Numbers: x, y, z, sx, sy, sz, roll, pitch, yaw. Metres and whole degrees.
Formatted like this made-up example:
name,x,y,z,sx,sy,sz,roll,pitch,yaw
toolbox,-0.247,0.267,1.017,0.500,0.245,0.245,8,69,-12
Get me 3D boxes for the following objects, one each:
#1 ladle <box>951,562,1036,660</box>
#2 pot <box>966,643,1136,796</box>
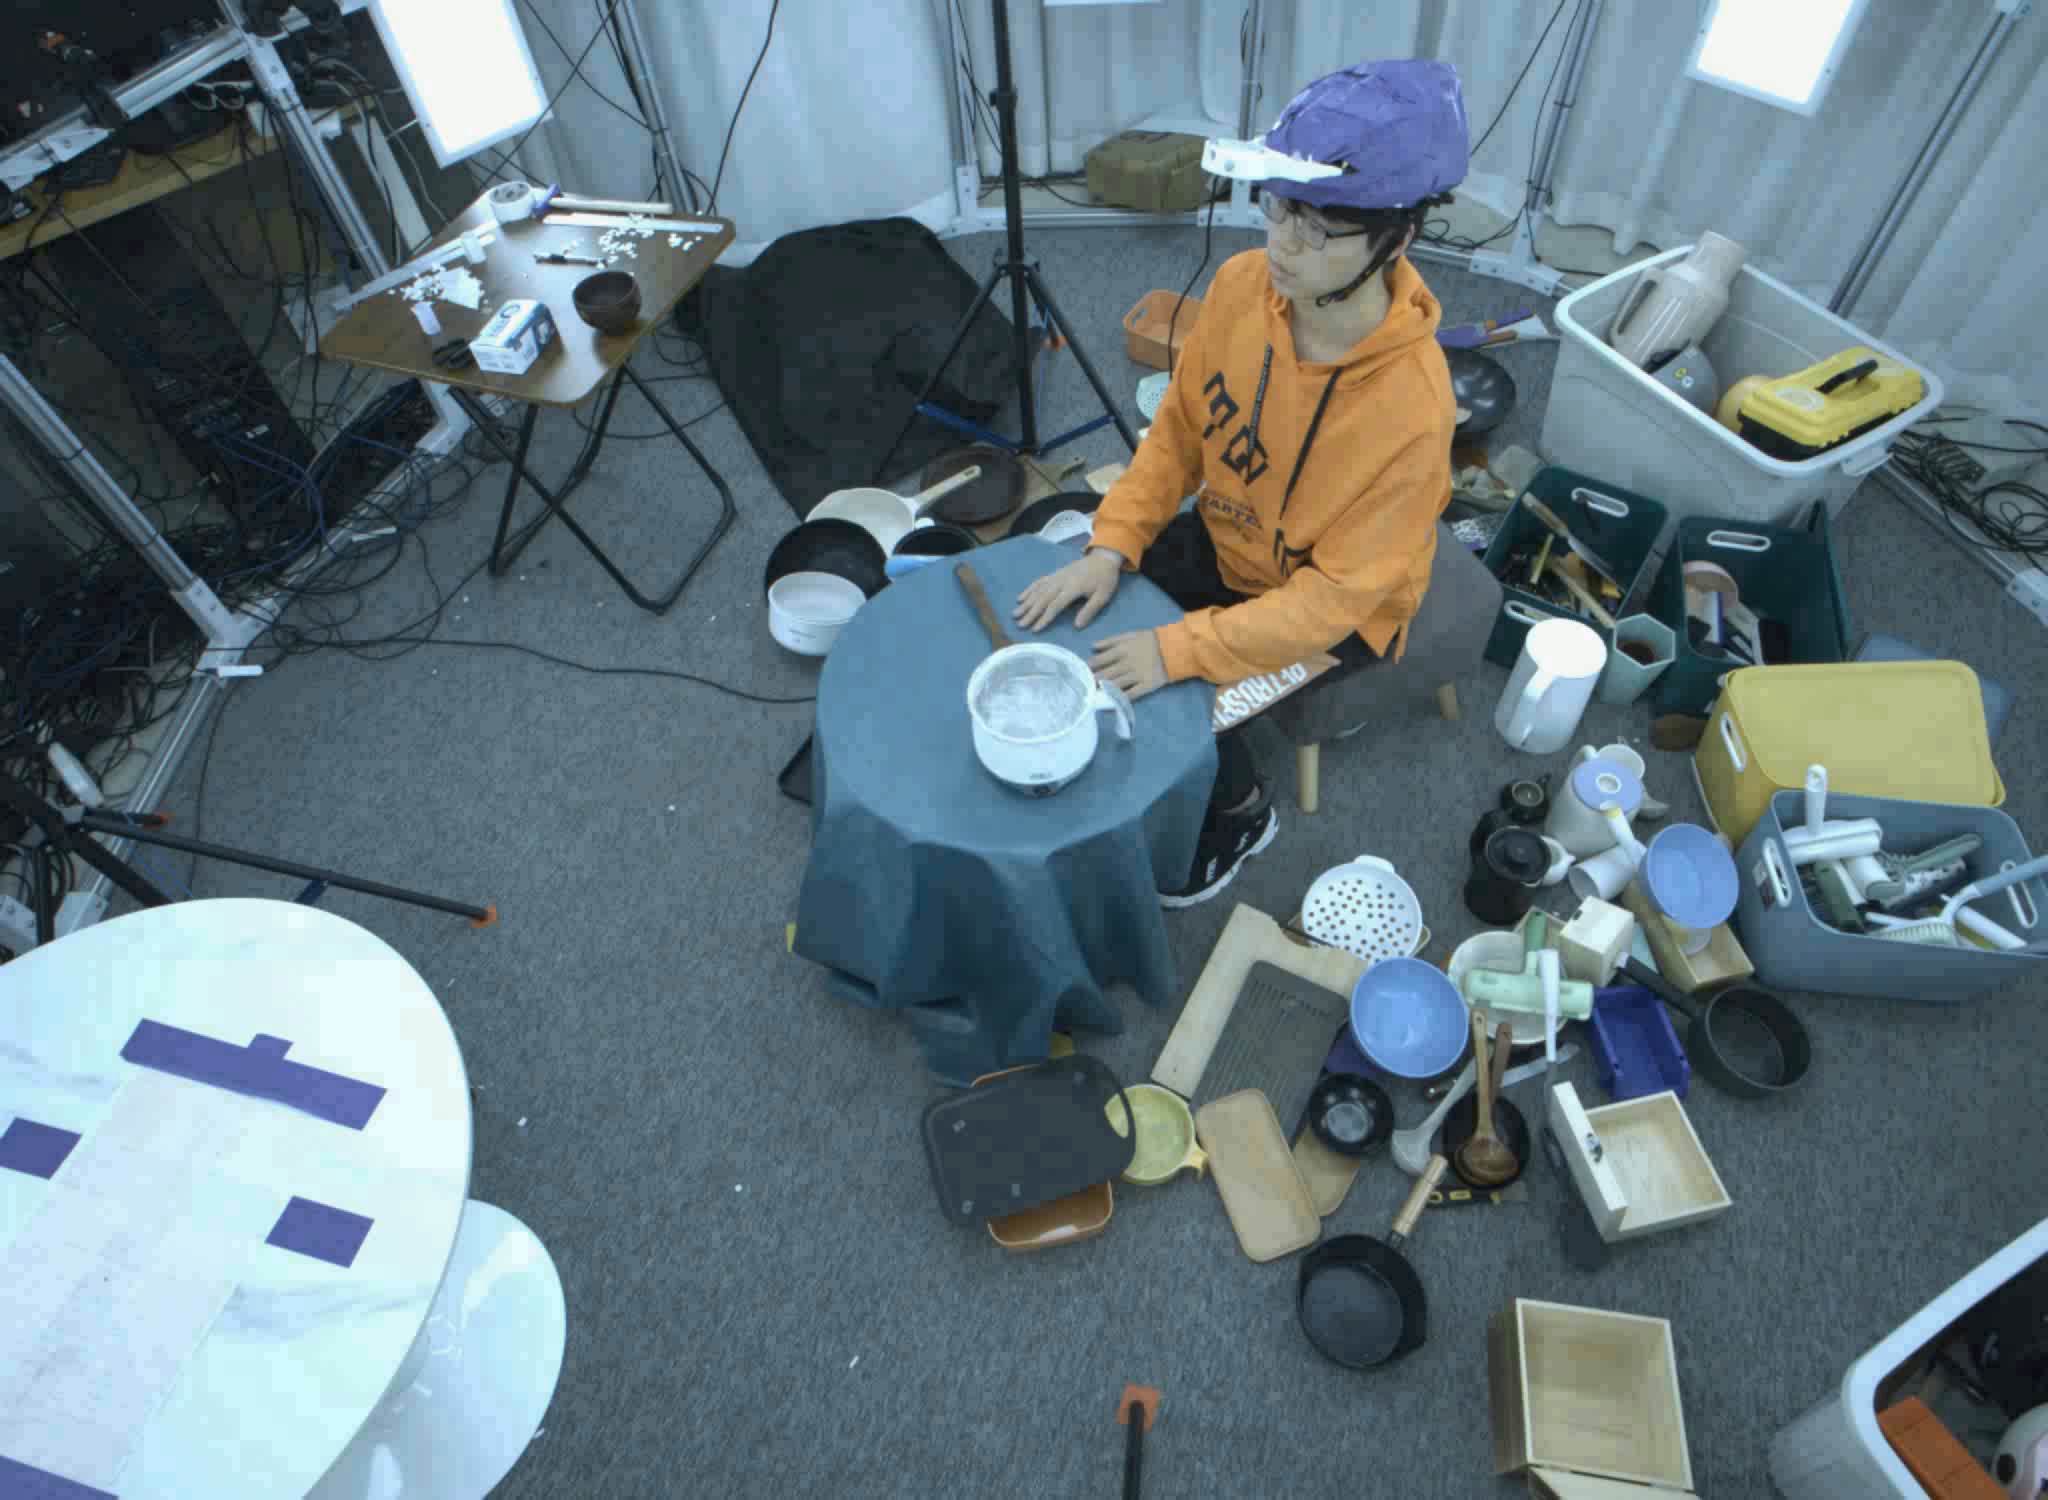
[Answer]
name,x,y,z,sx,sy,sz,roll,pitch,yaw
ladle,-0.058,-0.223,1.904,0.076,0.072,0.269,-19,57,-13
pot,0.041,-0.046,1.733,0.234,0.138,0.176,-7,55,-2
